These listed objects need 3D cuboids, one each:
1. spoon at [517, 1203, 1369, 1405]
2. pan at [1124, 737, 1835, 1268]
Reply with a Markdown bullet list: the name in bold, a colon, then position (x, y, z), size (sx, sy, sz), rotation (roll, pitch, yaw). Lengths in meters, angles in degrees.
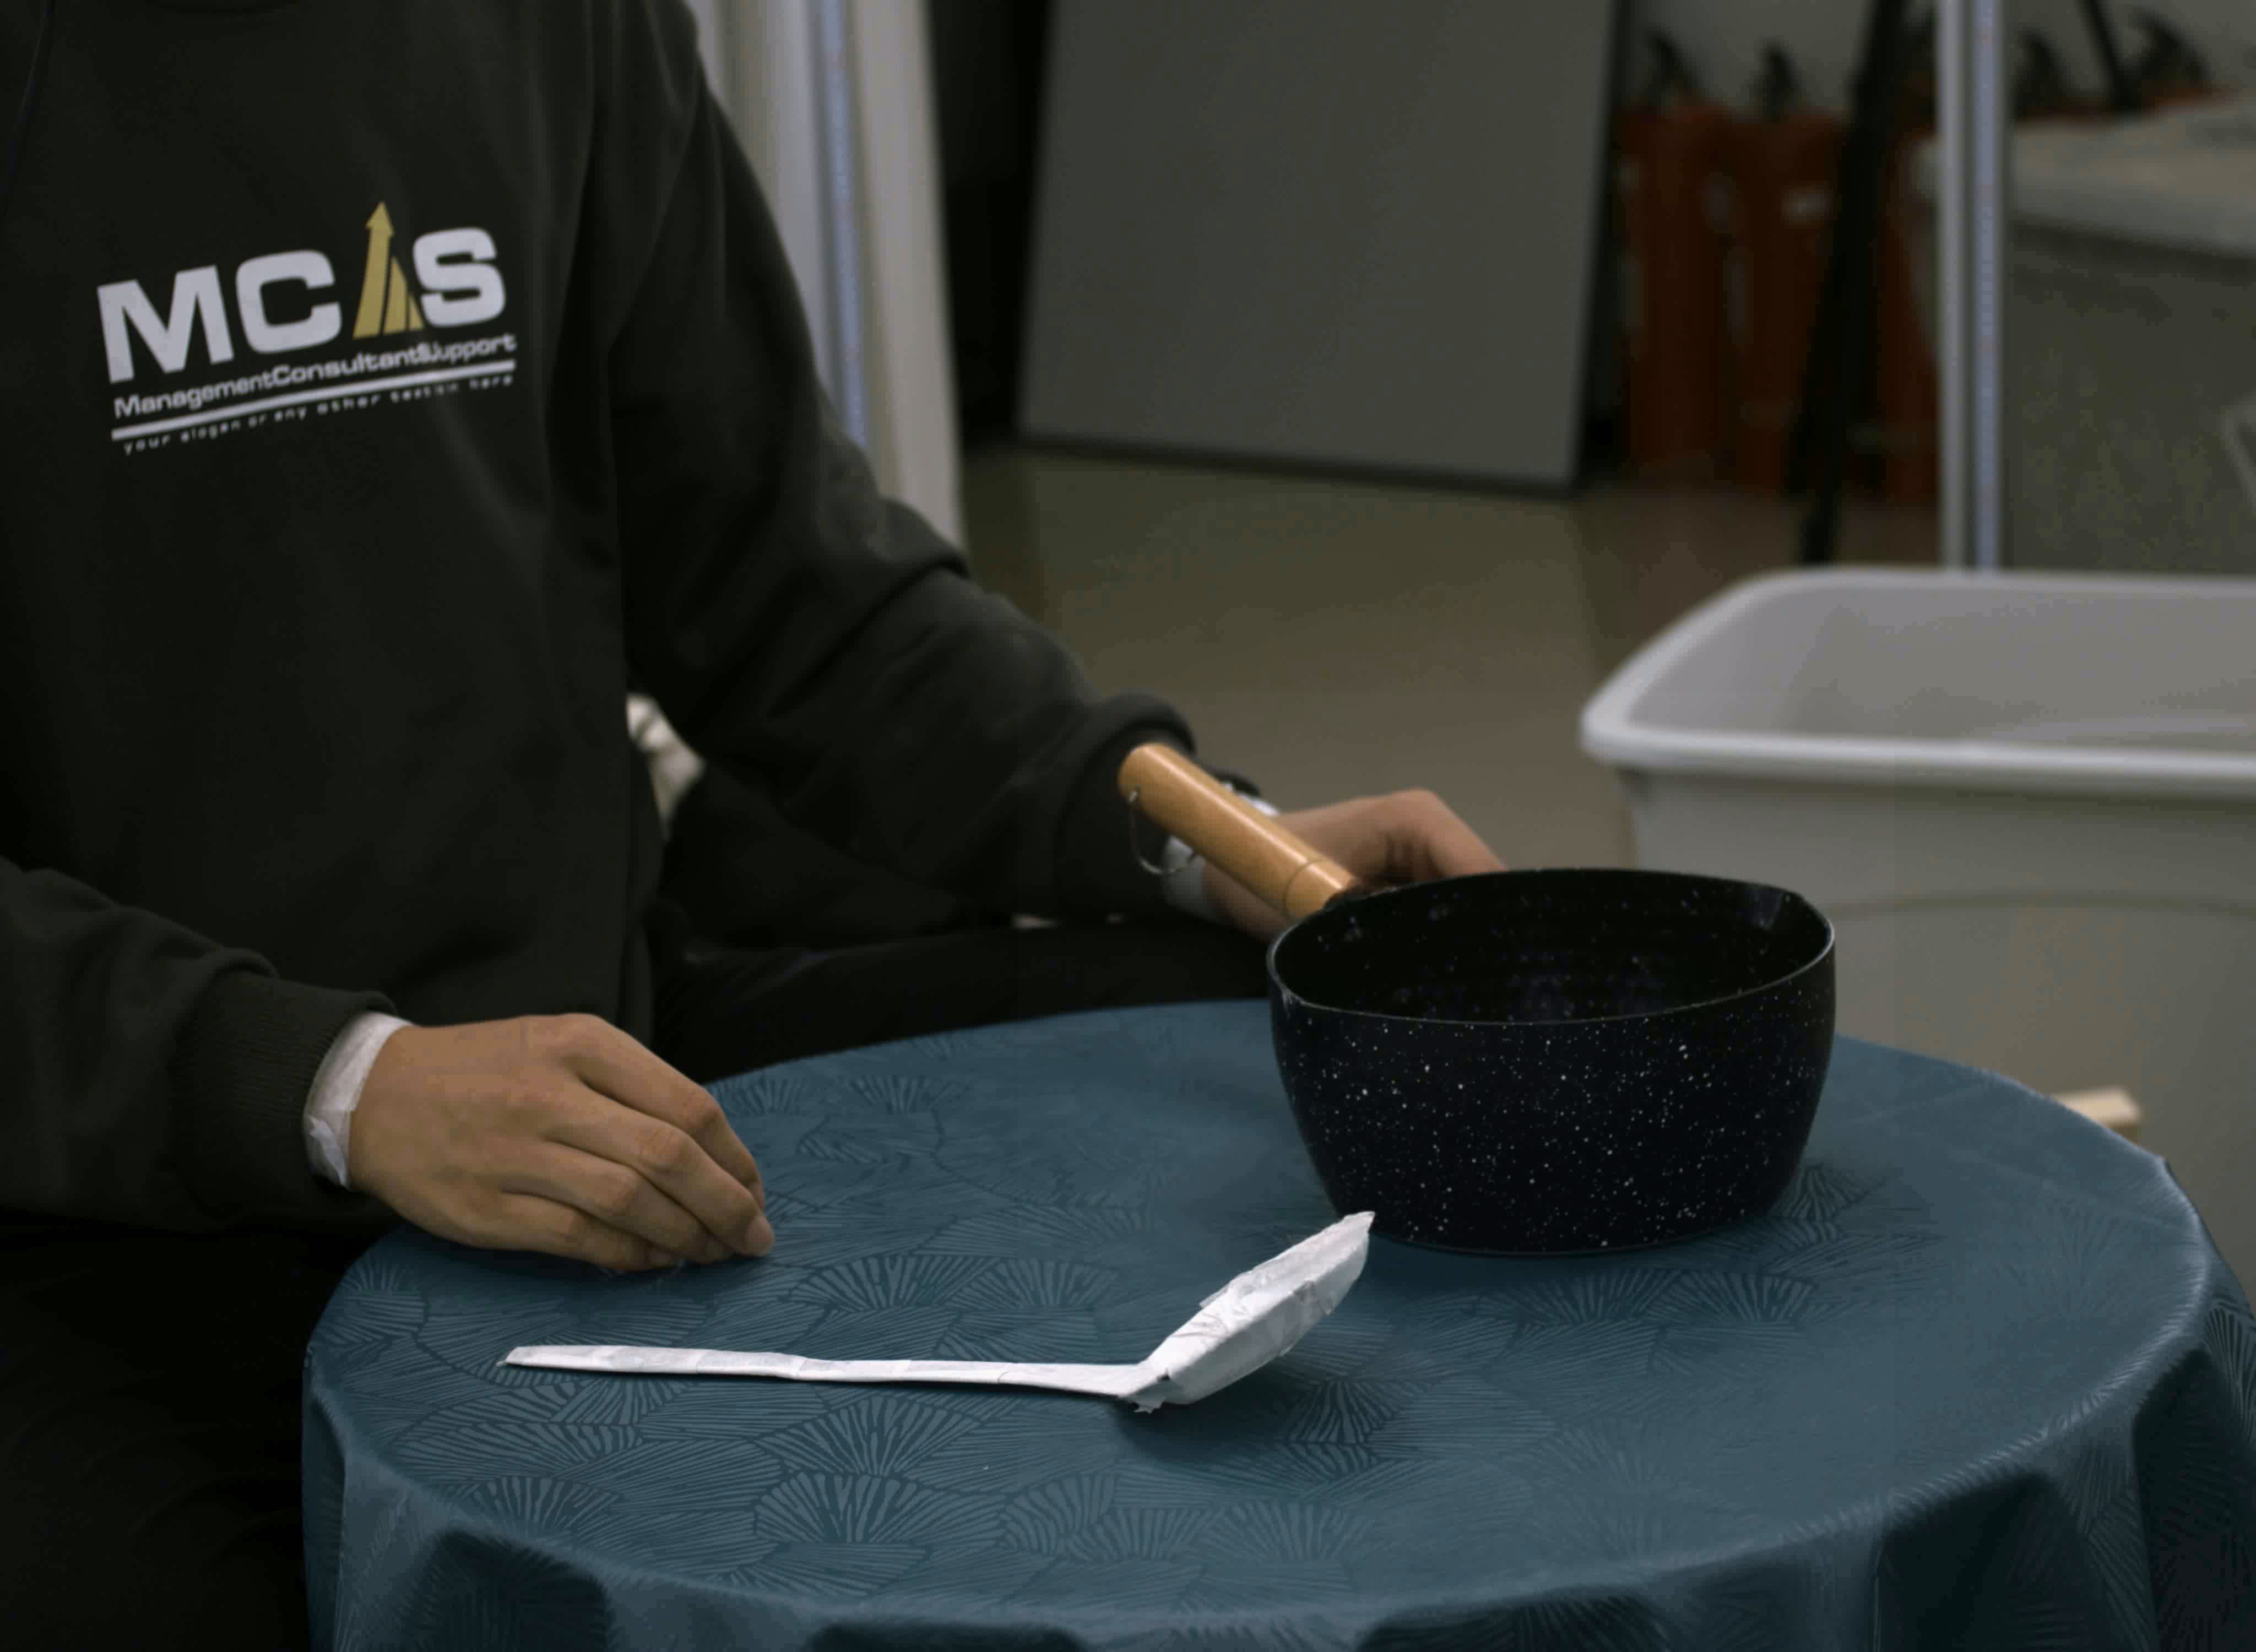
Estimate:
- **spoon**: position (-0.058, 0.136, 1.607), size (0.277, 0.060, 0.099), rotation (1, 12, 22)
- **pan**: position (0.095, 0.053, 1.801), size (0.203, 0.109, 0.346), rotation (-13, 17, -29)
